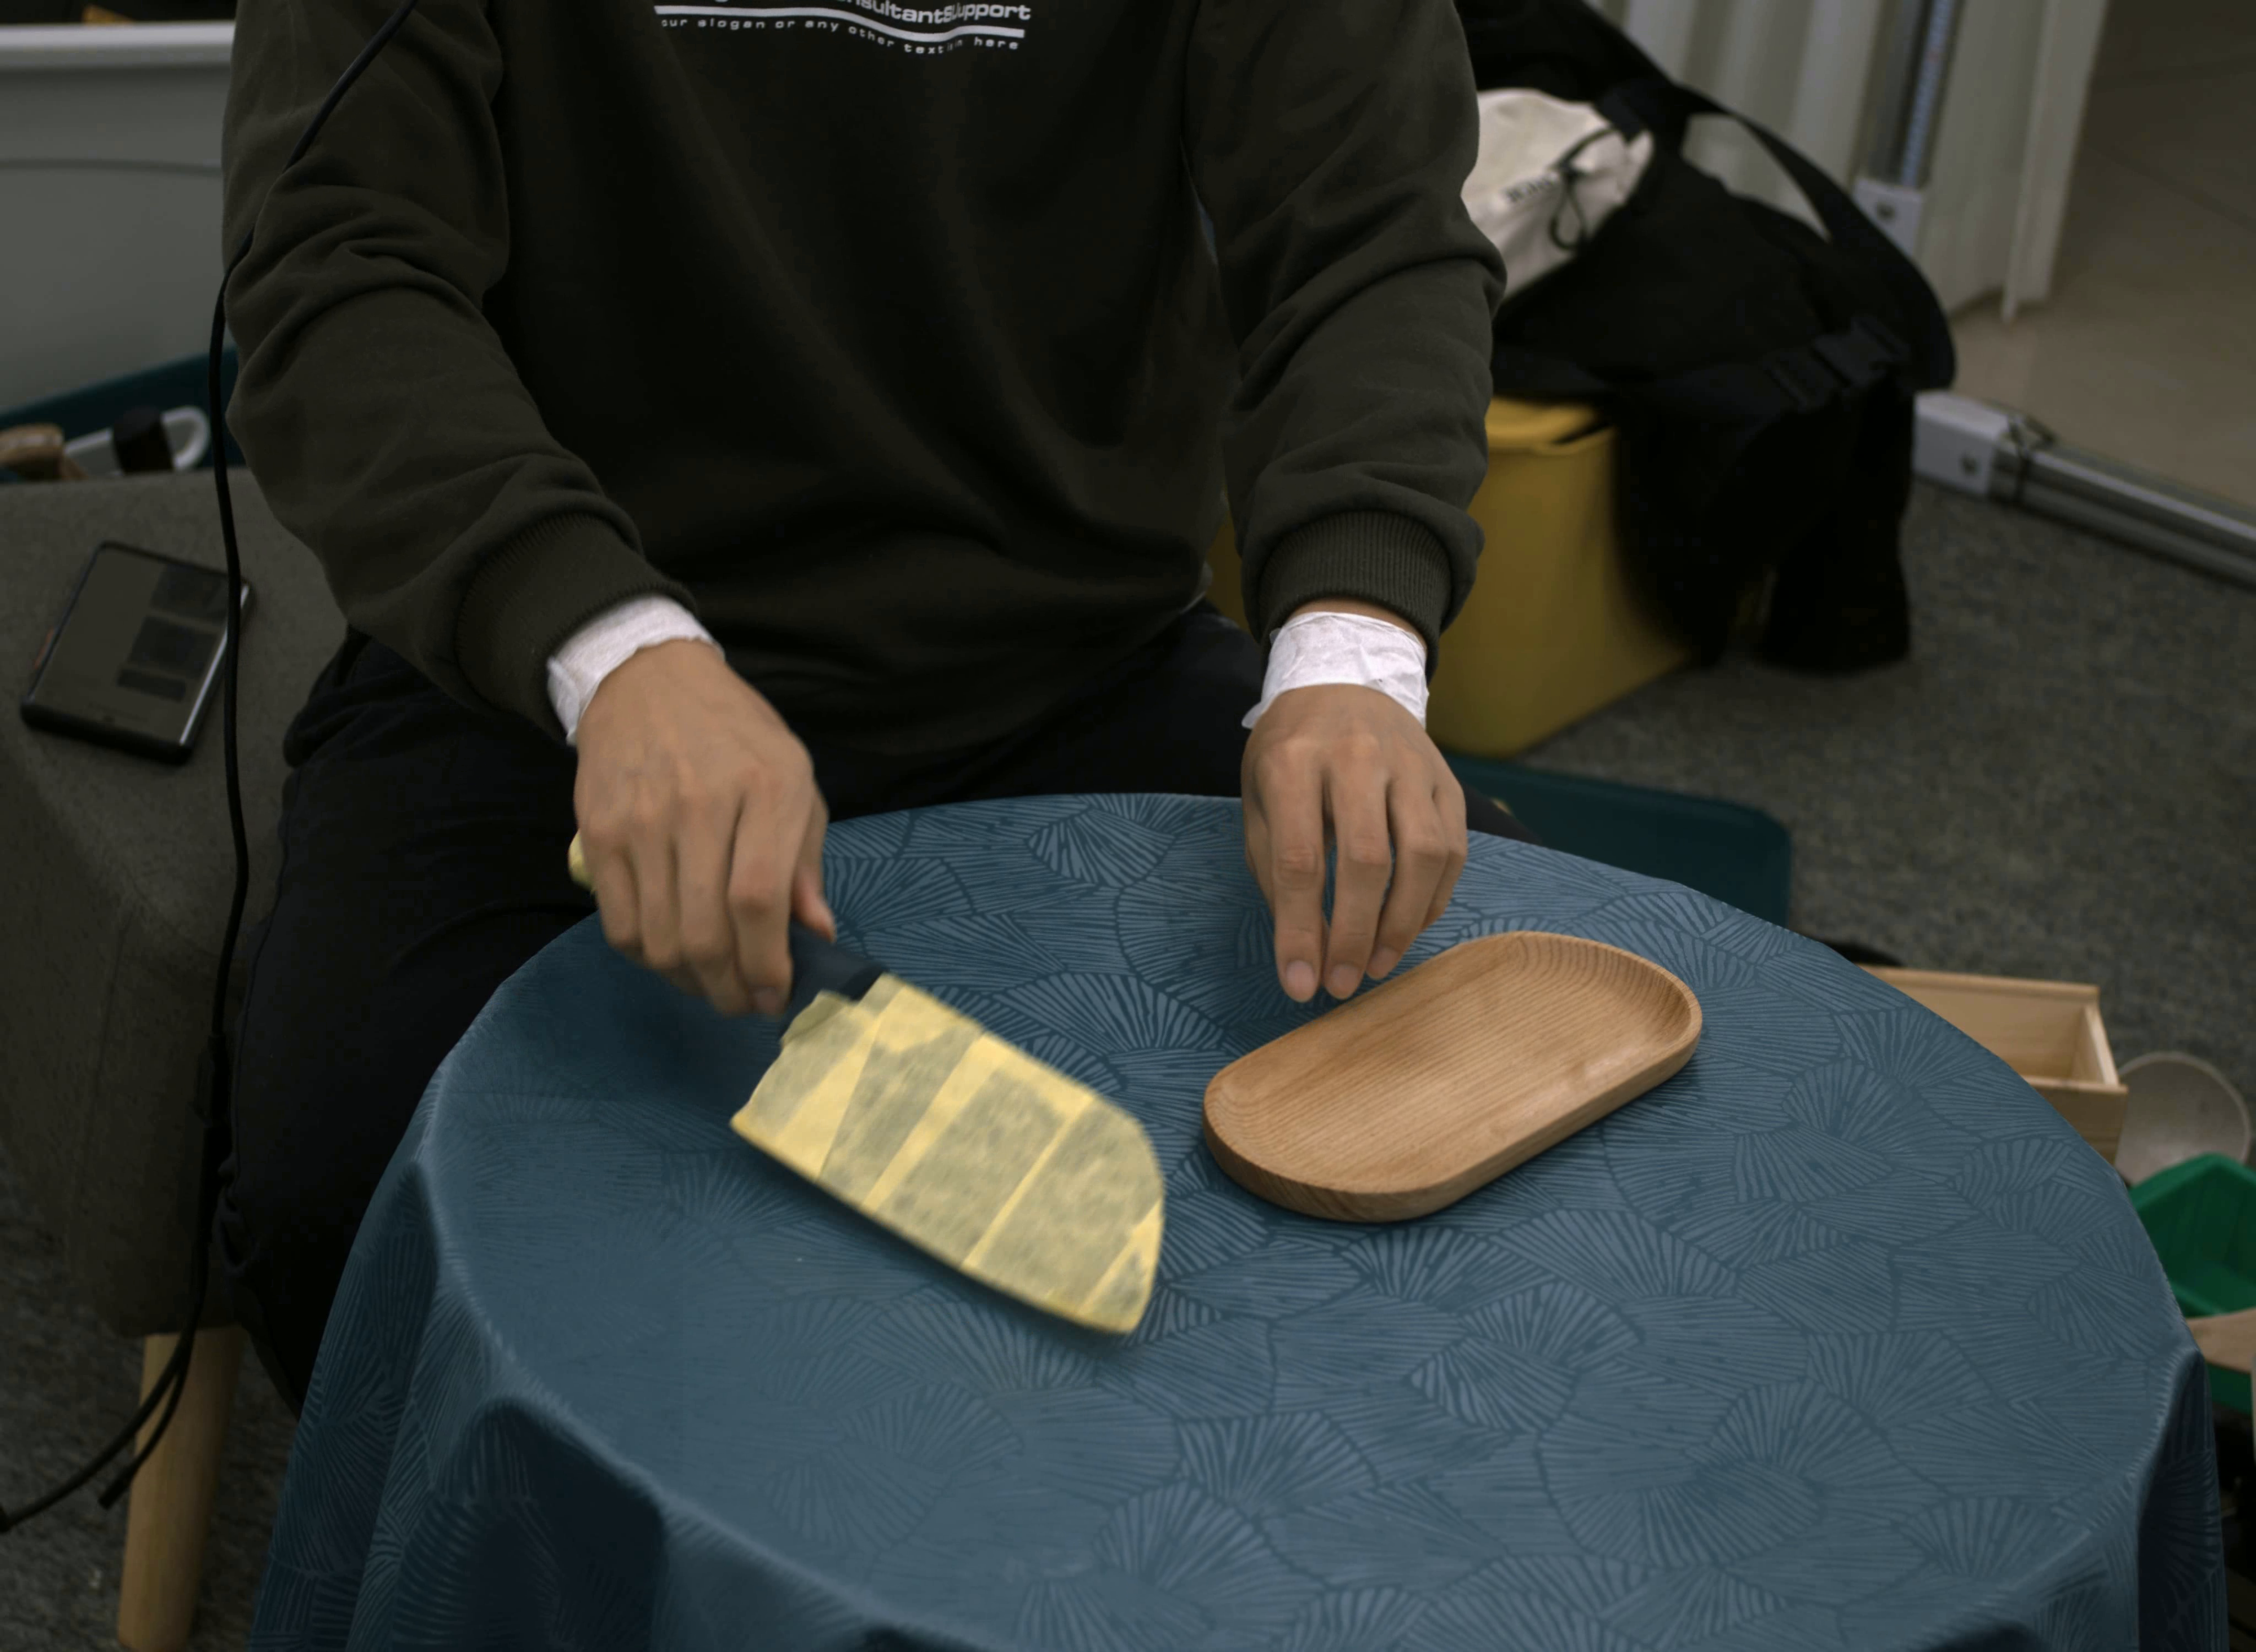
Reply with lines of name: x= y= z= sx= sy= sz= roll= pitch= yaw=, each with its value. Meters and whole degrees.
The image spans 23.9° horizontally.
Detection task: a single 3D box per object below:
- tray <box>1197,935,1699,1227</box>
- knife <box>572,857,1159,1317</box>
tray: x=0.115 y=0.089 z=1.882 sx=0.102 sy=0.020 sz=0.230 roll=23 pitch=33 yaw=33
knife: x=-0.096 y=0.085 z=1.787 sx=0.292 sy=0.027 sz=0.081 roll=32 pitch=76 yaw=35
